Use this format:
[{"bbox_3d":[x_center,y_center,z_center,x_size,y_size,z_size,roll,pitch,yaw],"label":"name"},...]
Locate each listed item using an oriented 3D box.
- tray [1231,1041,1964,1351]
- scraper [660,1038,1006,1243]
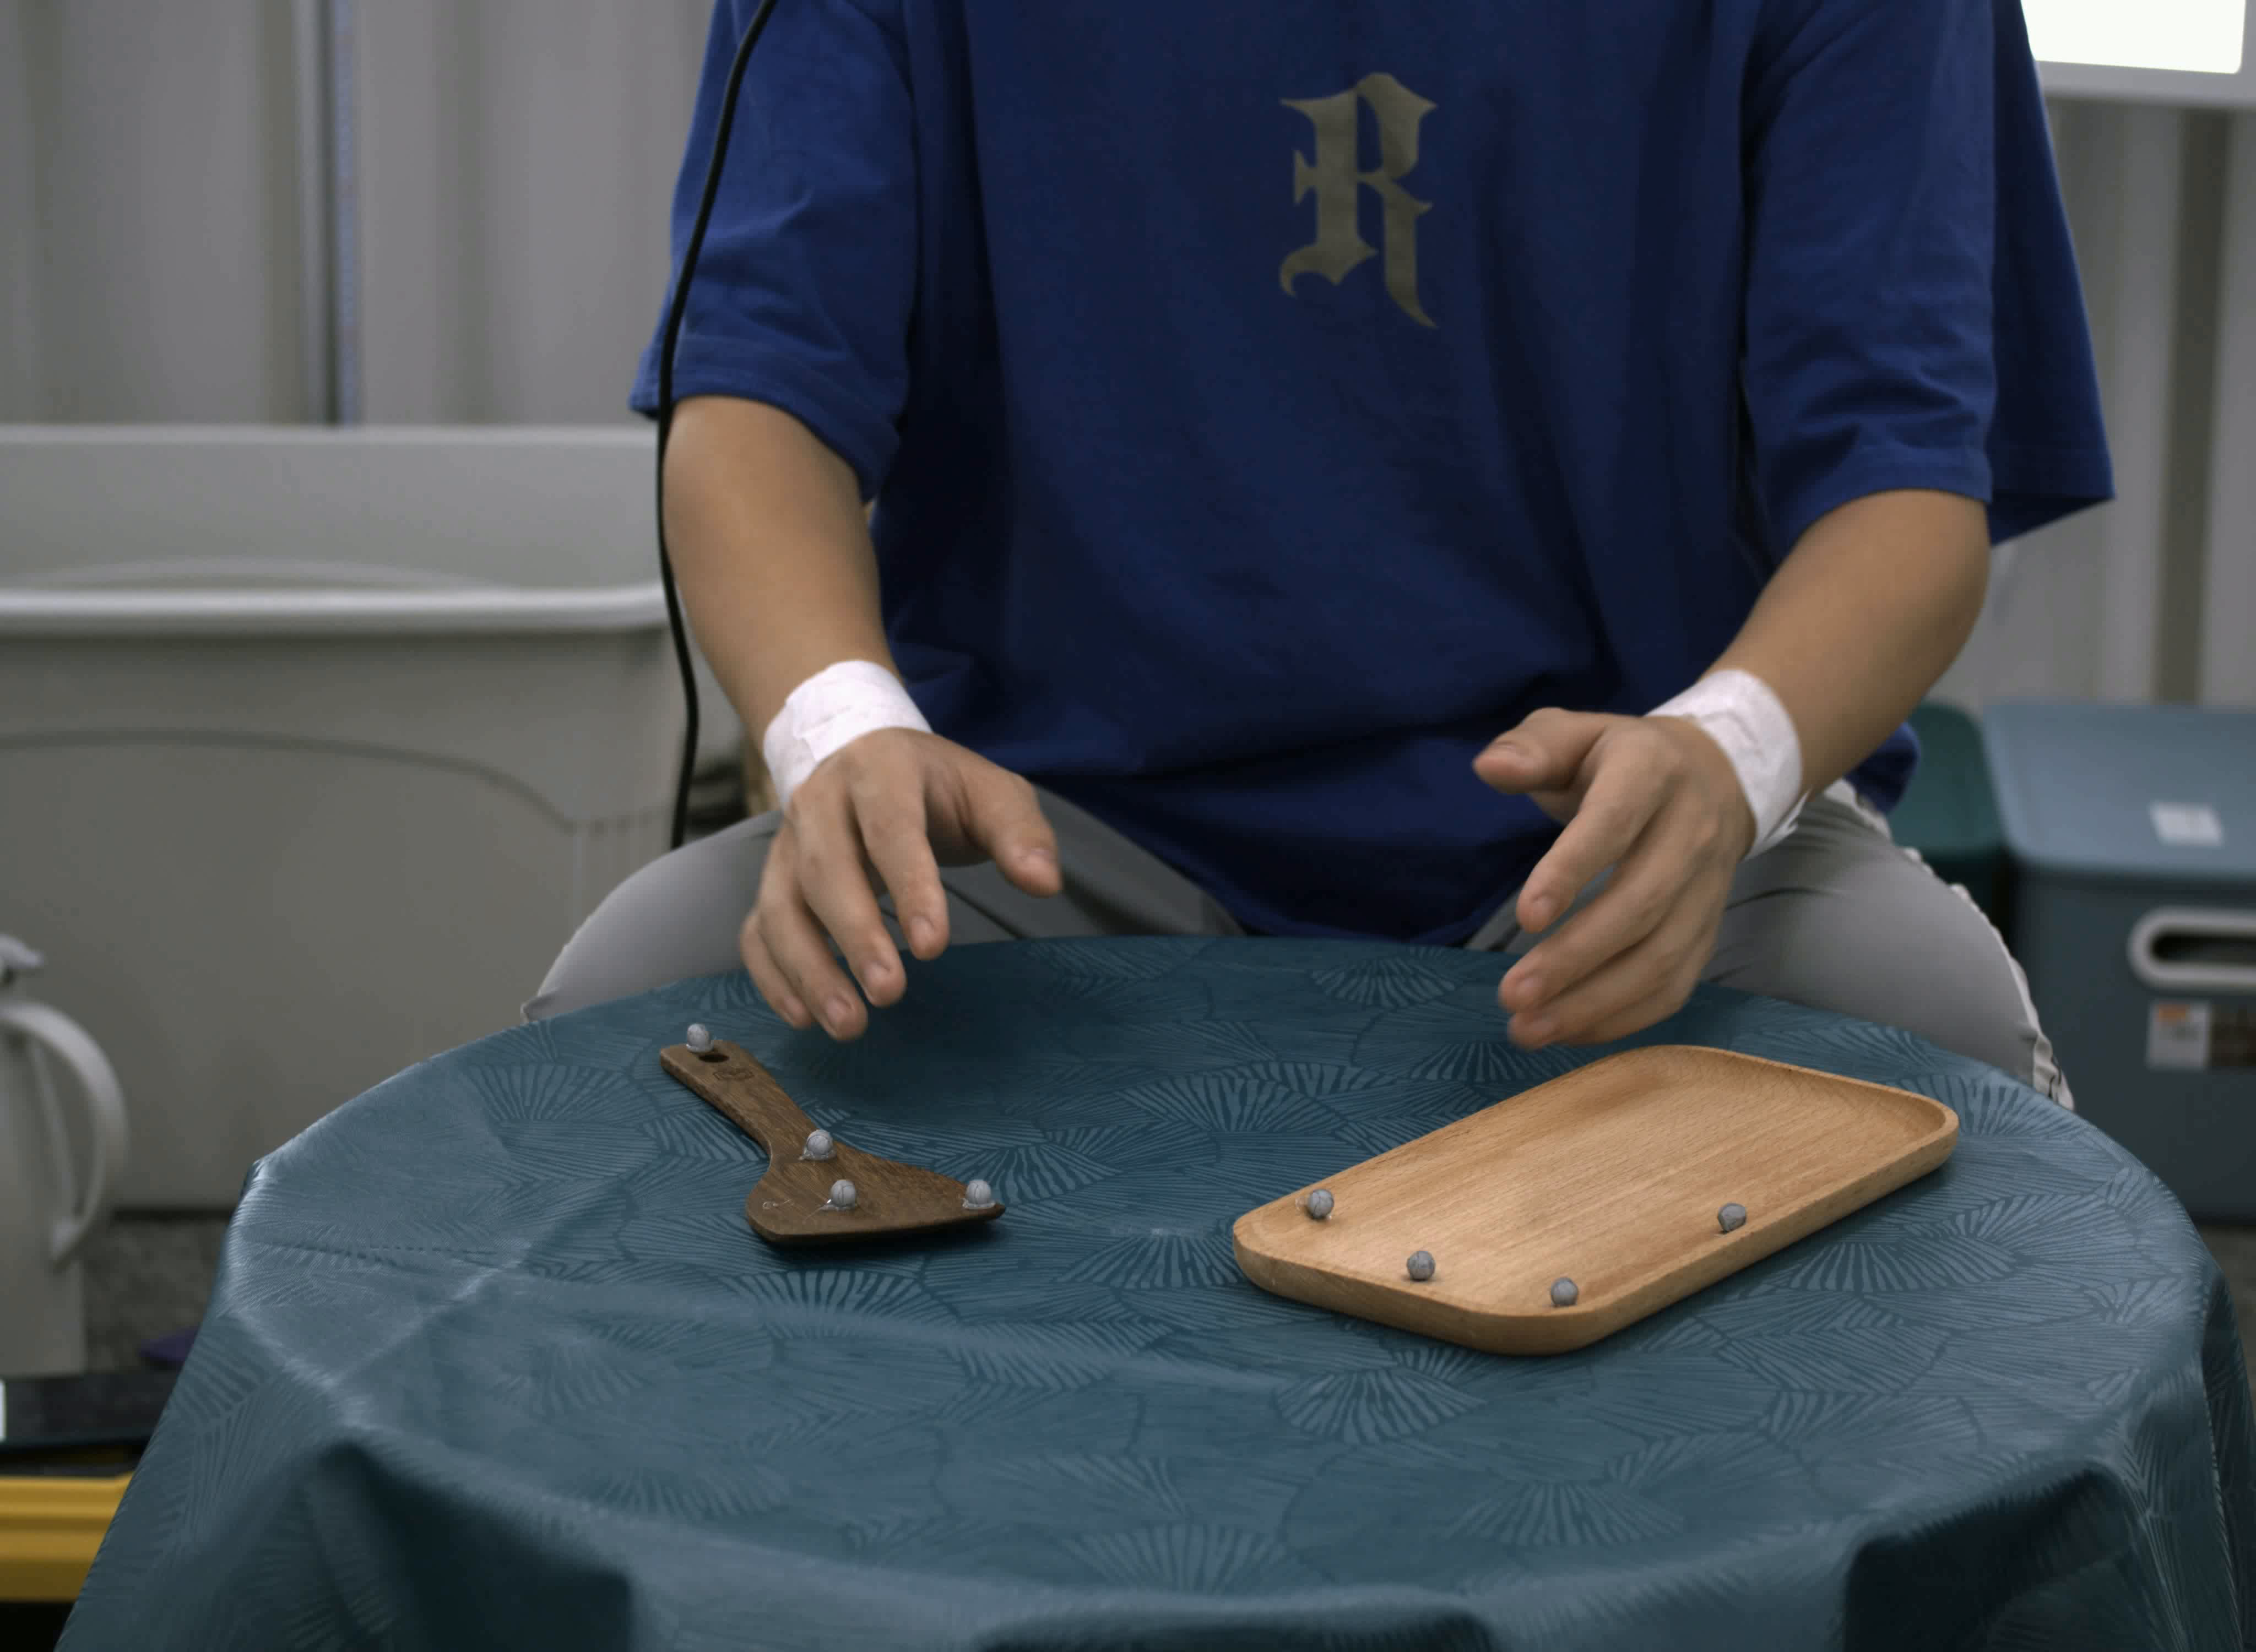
[{"bbox_3d":[0.146,0.110,1.604,0.129,0.023,0.252,16,21,36],"label":"tray"},{"bbox_3d":[-0.106,0.098,1.654,0.076,0.011,0.209,-4,15,-21],"label":"scraper"}]
